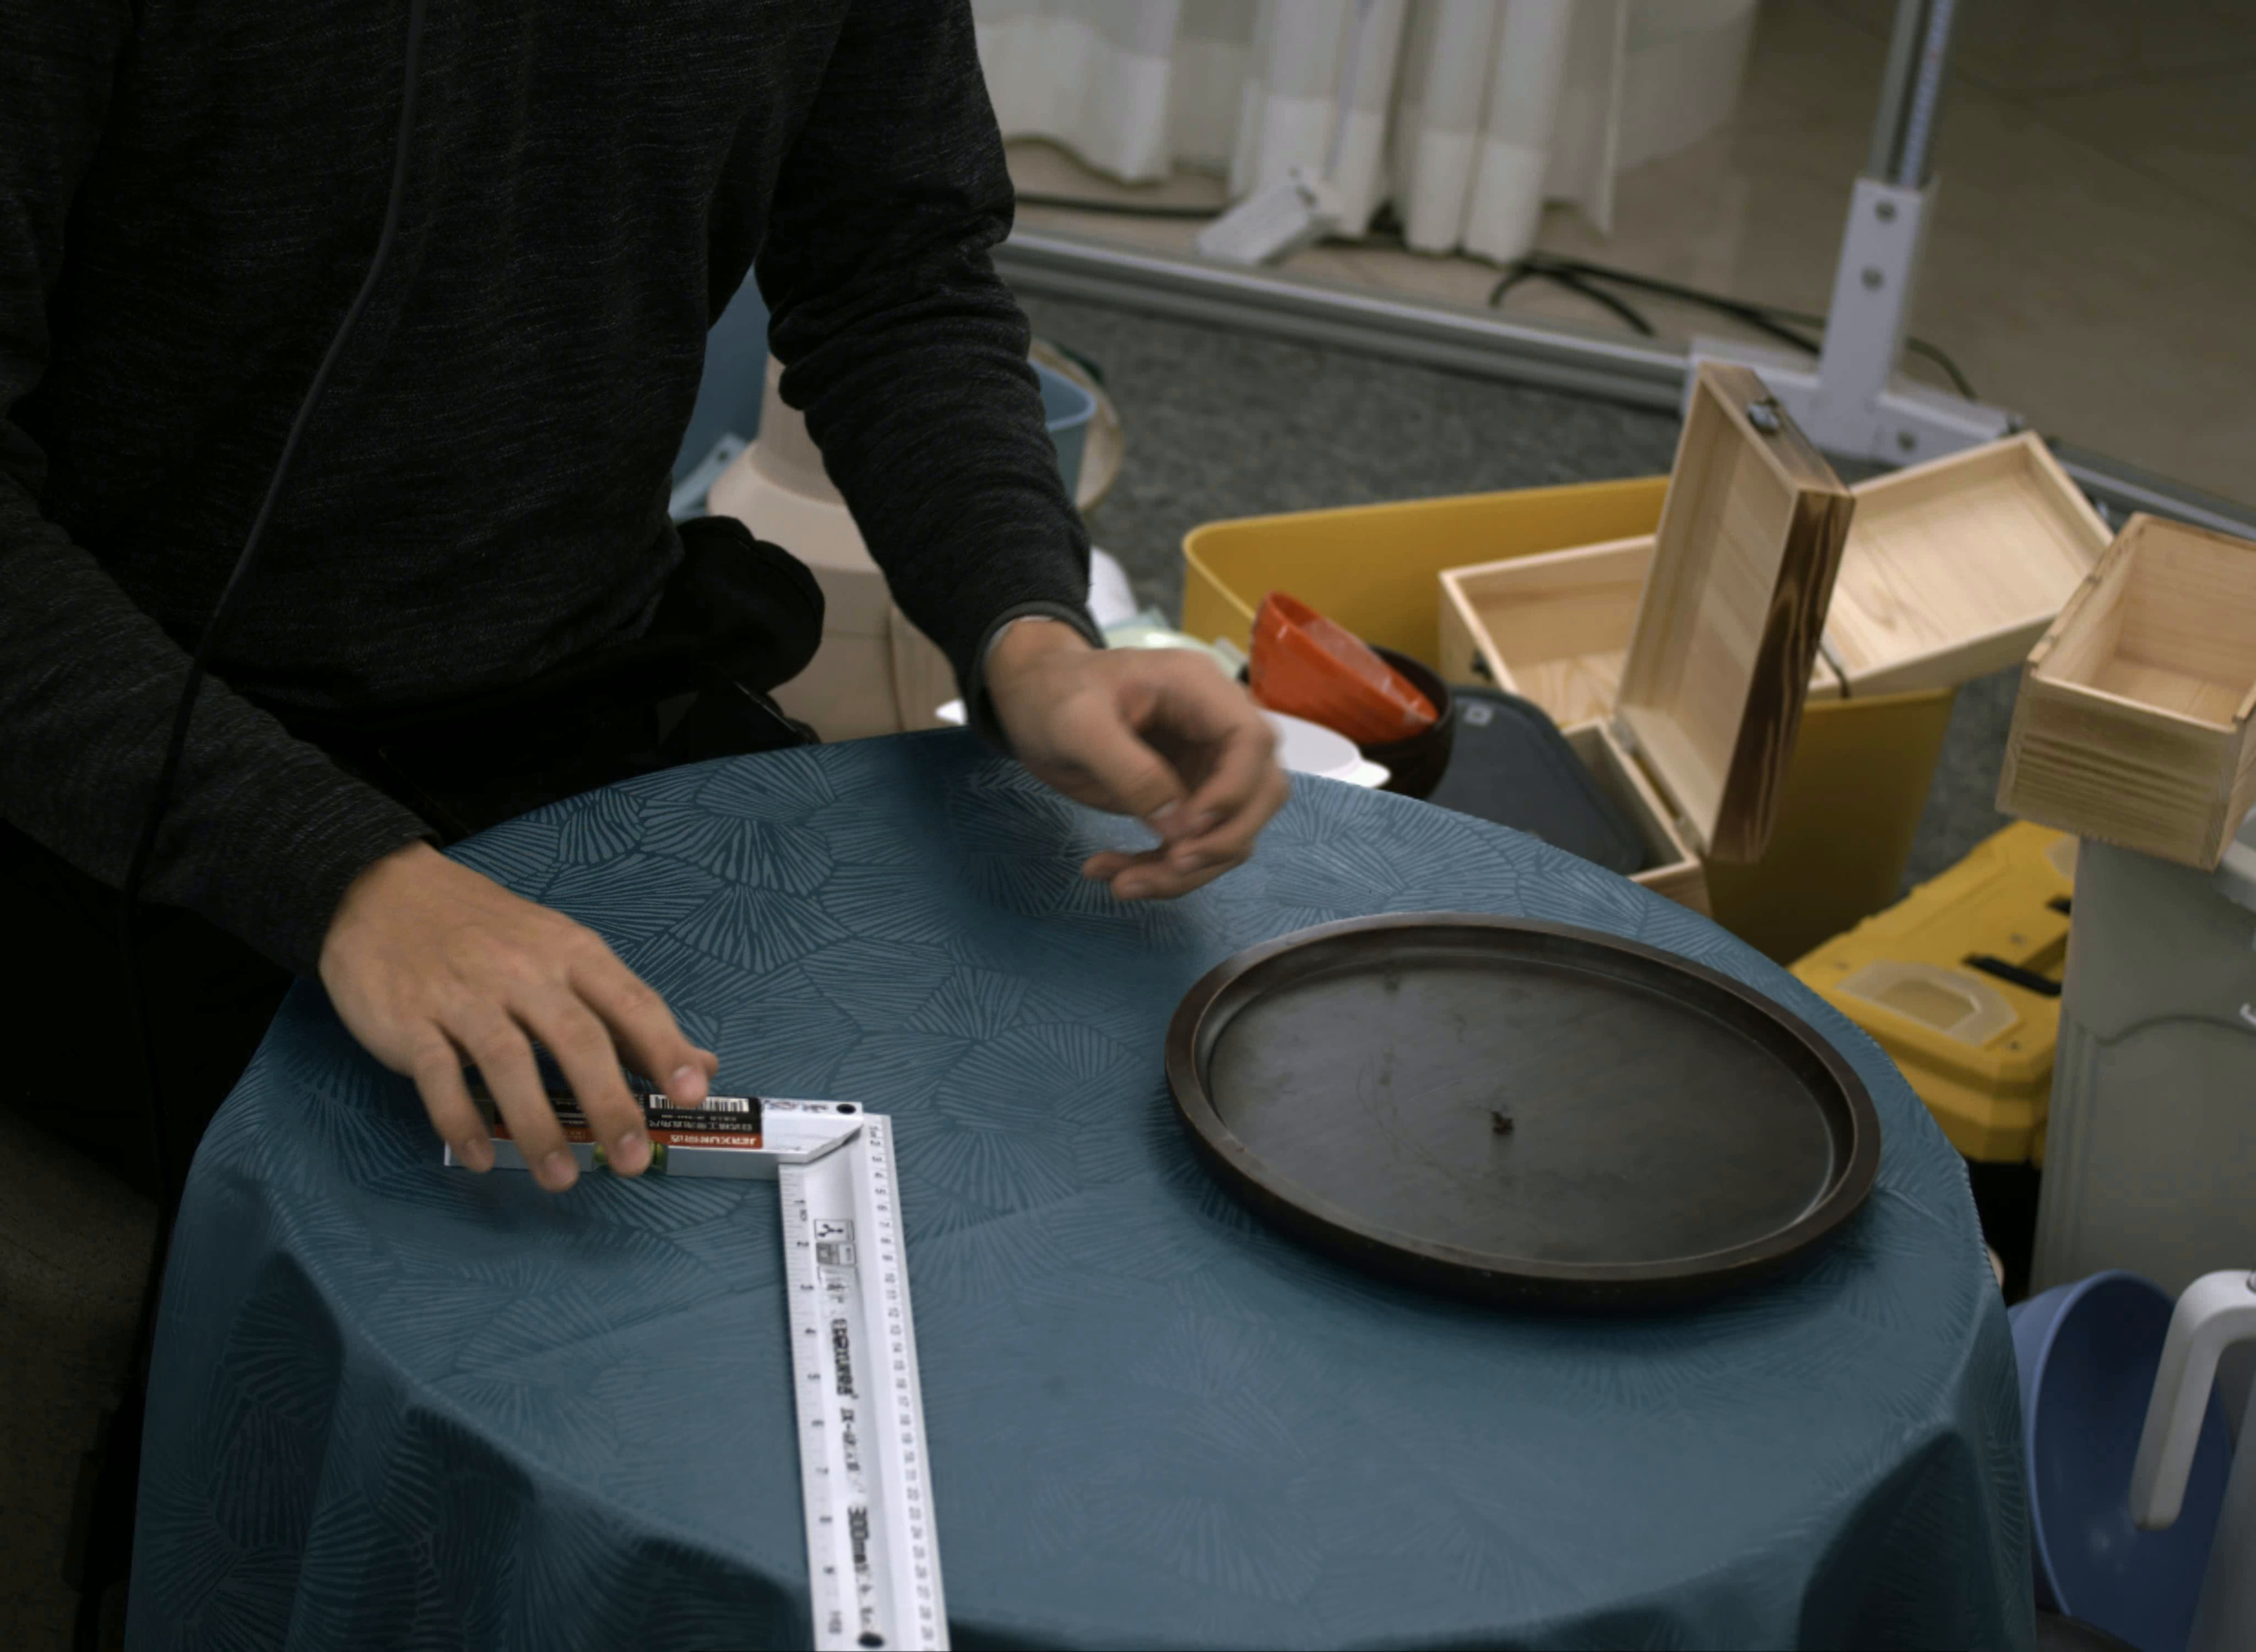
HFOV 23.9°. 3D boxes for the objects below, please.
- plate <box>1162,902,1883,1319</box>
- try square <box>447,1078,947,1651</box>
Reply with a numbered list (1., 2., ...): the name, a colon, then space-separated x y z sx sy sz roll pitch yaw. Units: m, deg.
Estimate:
1. plate: 0.136 0.099 1.855 0.254 0.029 0.256 5 28 -3
2. try square: -0.140 0.168 1.673 0.151 0.016 0.315 3 28 -8
